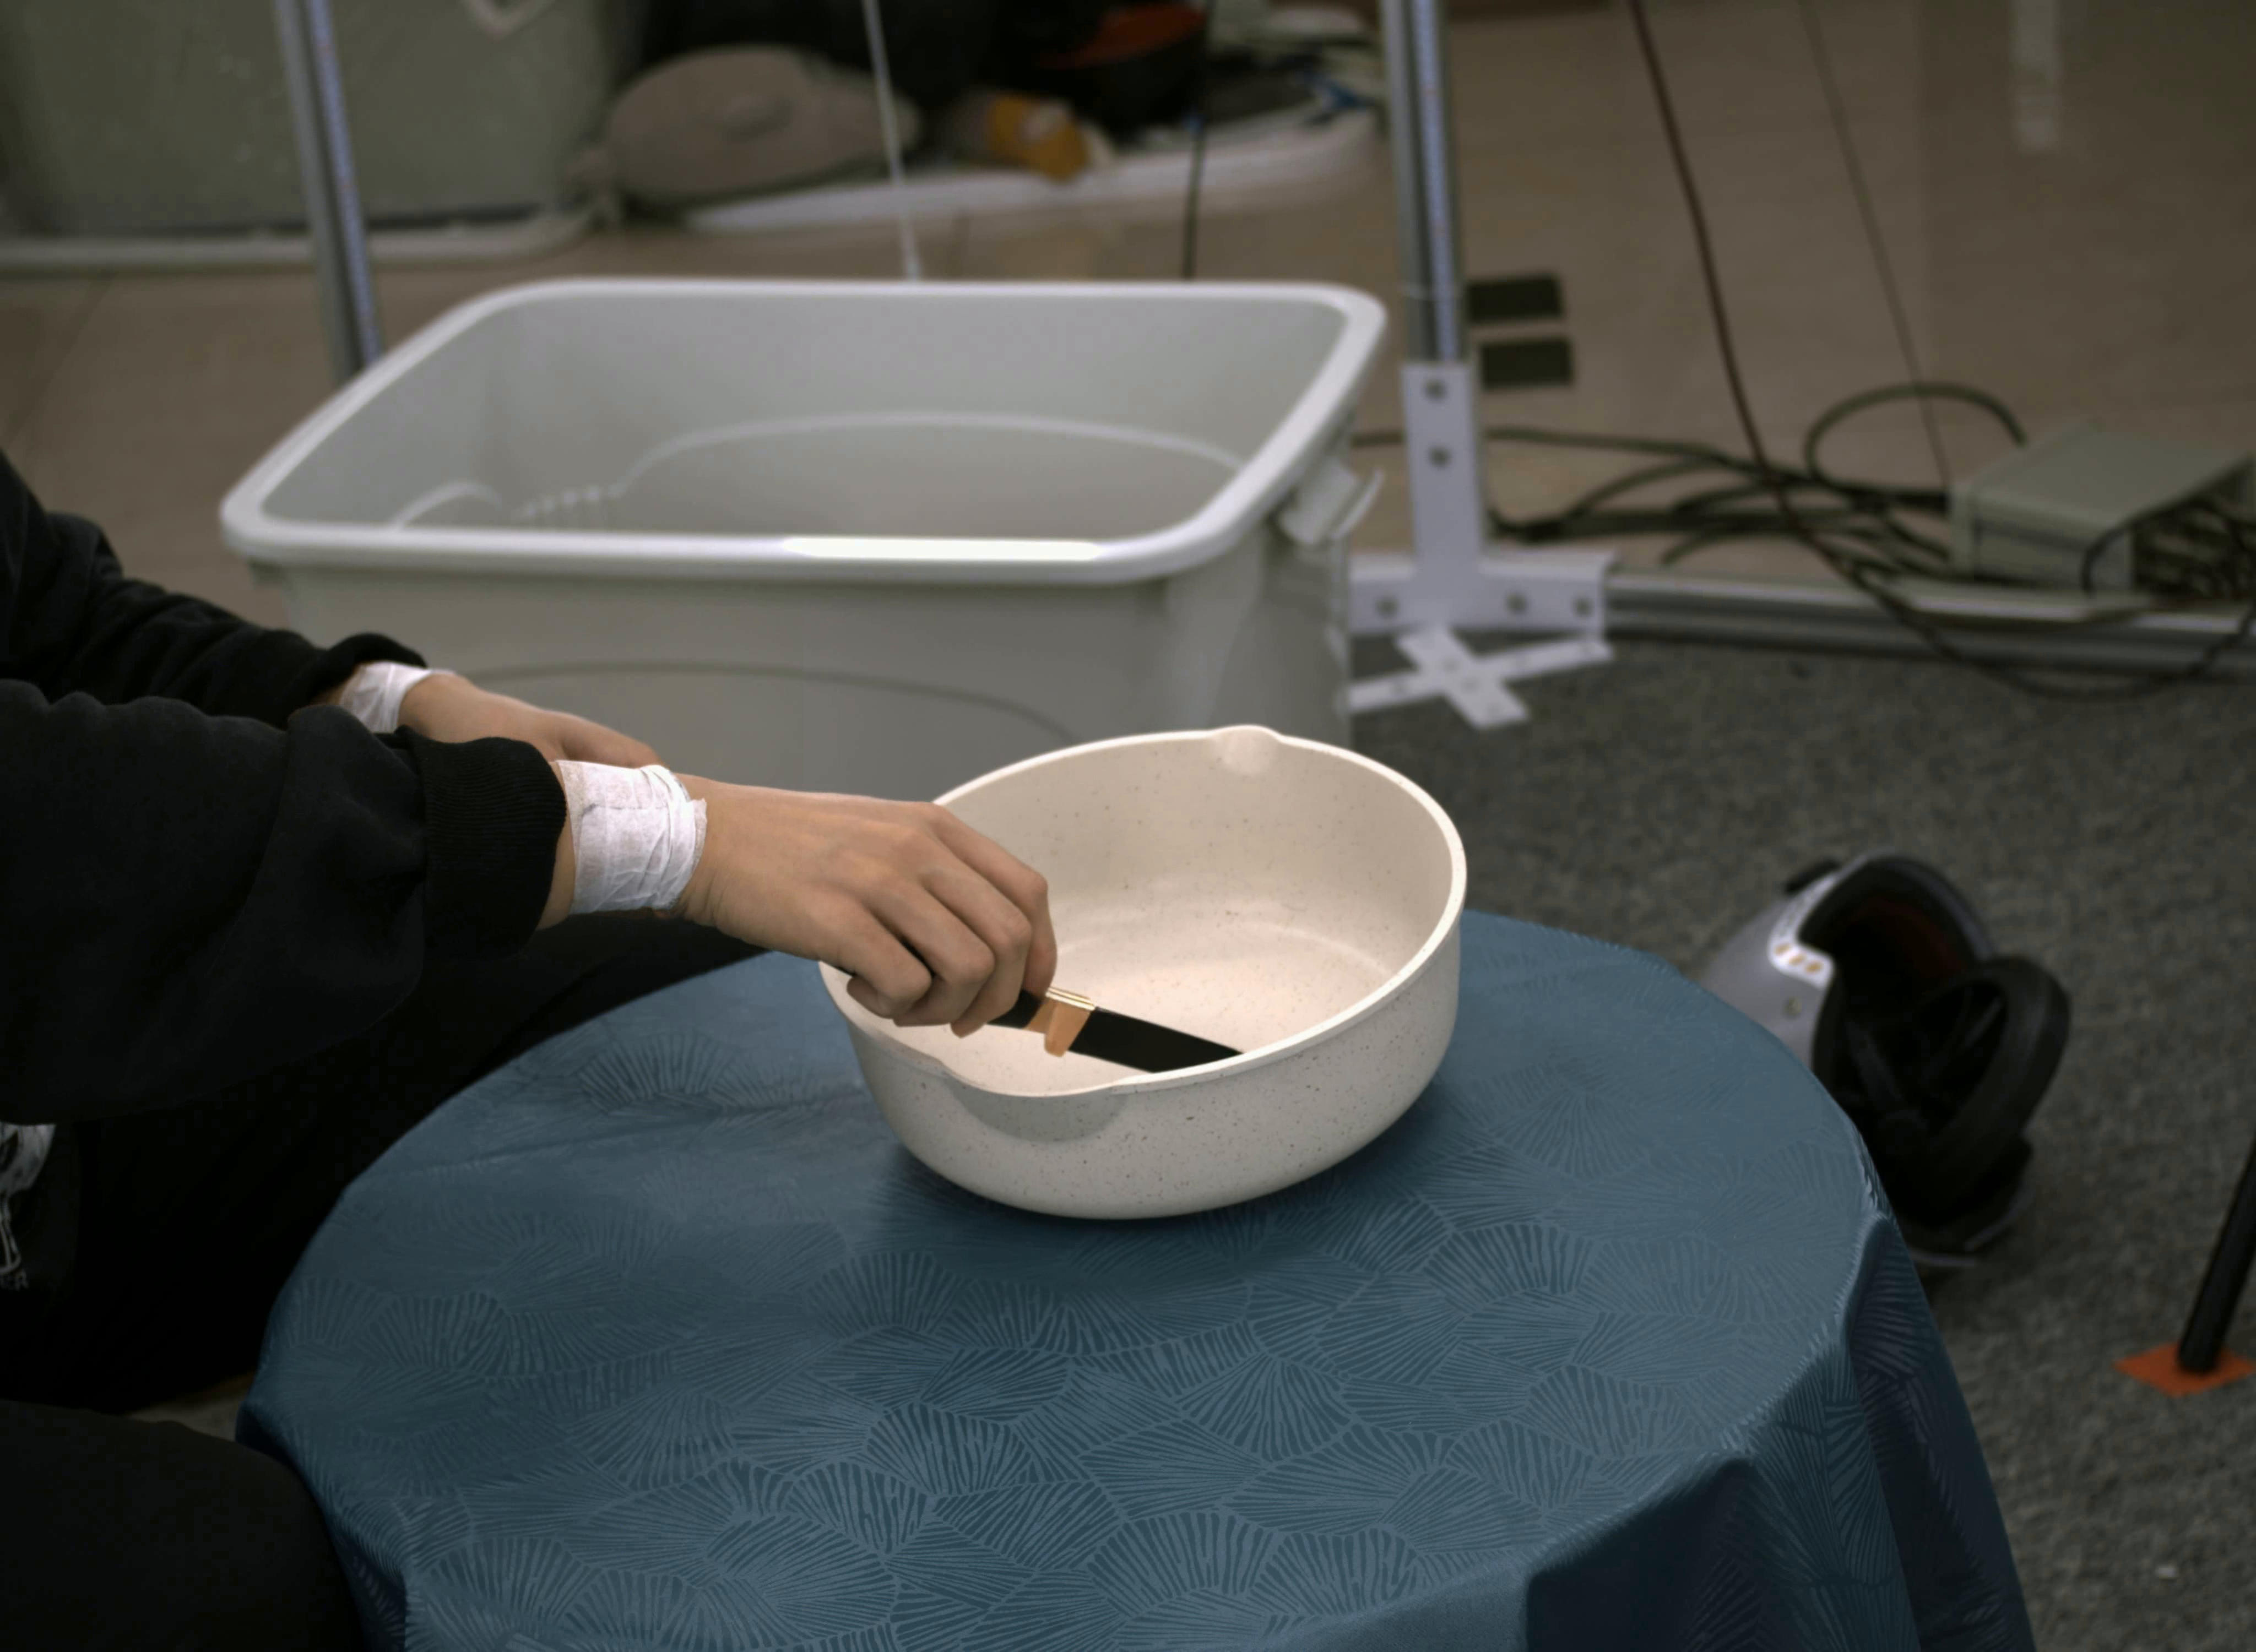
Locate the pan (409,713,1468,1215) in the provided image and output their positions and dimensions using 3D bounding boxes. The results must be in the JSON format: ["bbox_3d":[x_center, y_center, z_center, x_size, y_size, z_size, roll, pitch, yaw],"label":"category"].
[{"bbox_3d":[-0.075,0.048,2.220,0.433,0.104,0.259,4,36,21],"label":"pan"}]

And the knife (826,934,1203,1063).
[{"bbox_3d":[-0.018,0.077,2.119,0.226,0.026,0.017,18,17,-30],"label":"knife"}]
